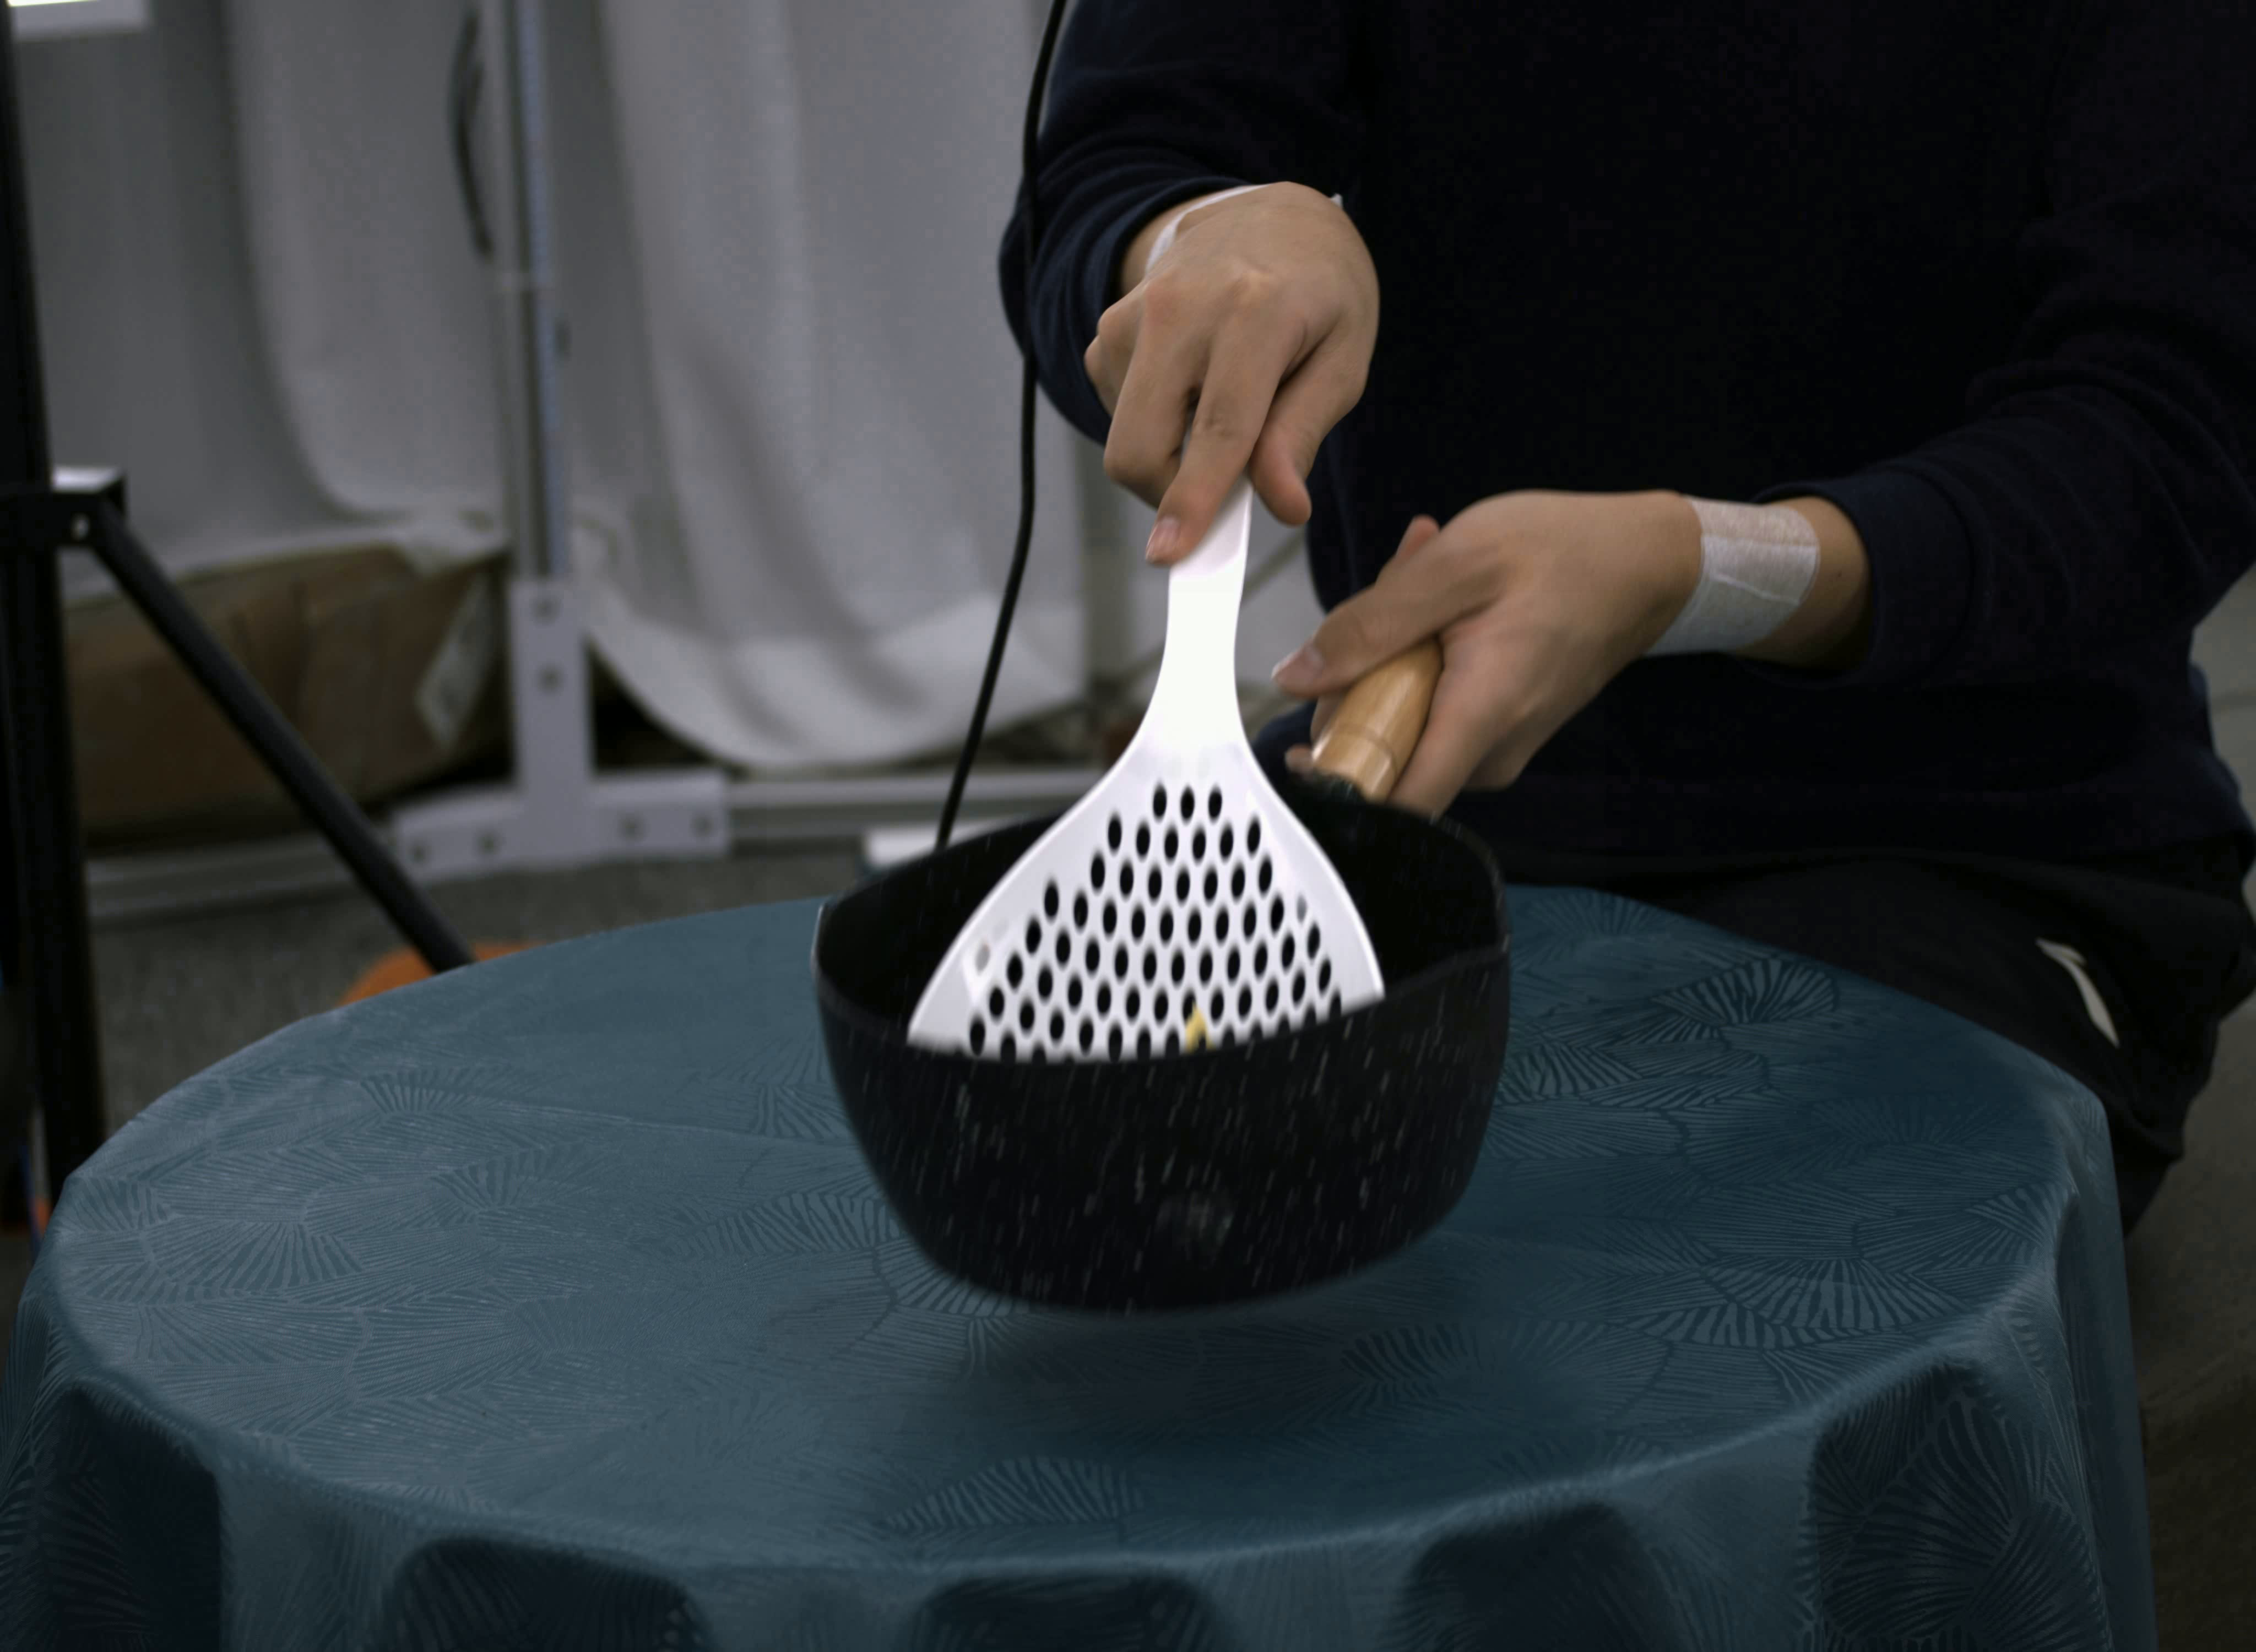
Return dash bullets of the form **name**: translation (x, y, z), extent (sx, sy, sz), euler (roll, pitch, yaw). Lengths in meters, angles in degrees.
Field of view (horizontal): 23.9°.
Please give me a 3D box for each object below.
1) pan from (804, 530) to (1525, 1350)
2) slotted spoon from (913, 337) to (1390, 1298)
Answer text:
- **pan**: translation (0.041, 0.027, 1.472), extent (0.210, 0.108, 0.339), euler (1, 24, 25)
- **slotted spoon**: translation (0.015, -0.012, 1.471), extent (0.137, 0.049, 0.351), euler (-3, 56, 10)
